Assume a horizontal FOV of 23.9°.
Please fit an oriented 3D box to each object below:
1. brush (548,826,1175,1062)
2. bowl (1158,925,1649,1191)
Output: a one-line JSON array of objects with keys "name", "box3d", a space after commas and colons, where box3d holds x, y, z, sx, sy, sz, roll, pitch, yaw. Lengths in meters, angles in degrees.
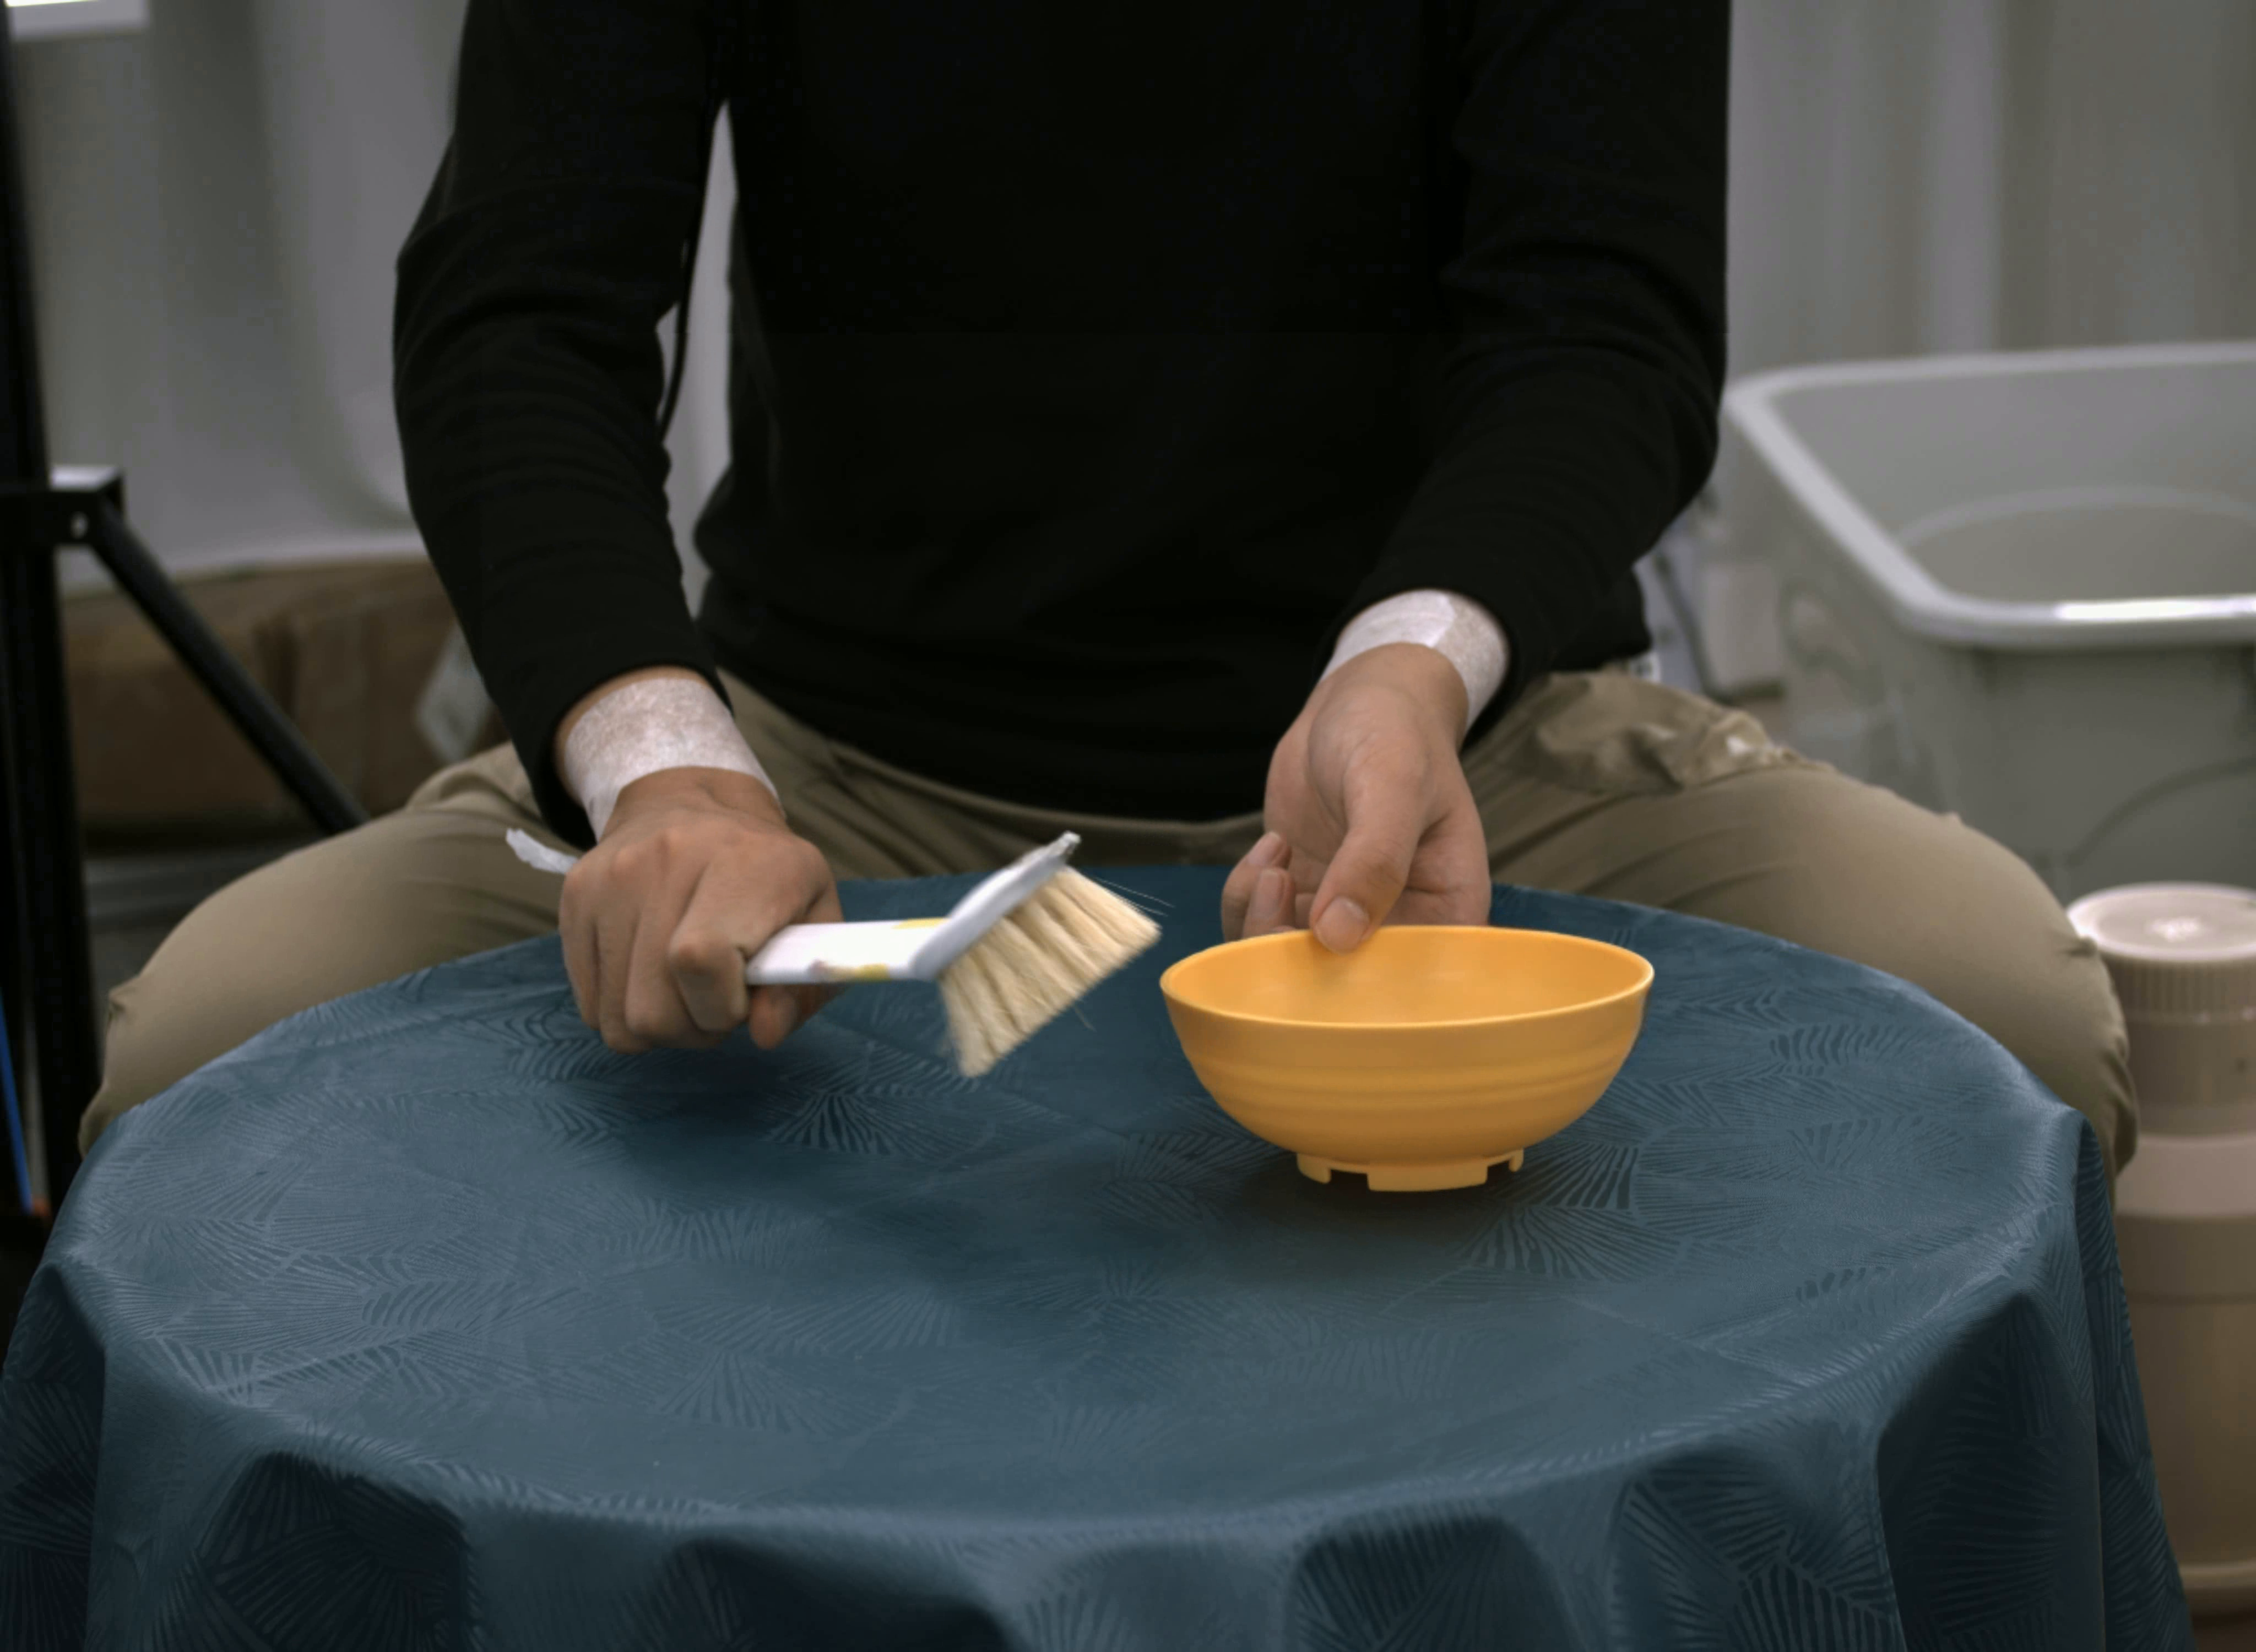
[{"name": "brush", "box3d": [-0.085, 0.045, 1.609, 0.067, 0.056, 0.272, -29, 12, -38]}, {"name": "bowl", "box3d": [0.080, 0.071, 1.553, 0.144, 0.060, 0.146, -1, 10, -1]}]
